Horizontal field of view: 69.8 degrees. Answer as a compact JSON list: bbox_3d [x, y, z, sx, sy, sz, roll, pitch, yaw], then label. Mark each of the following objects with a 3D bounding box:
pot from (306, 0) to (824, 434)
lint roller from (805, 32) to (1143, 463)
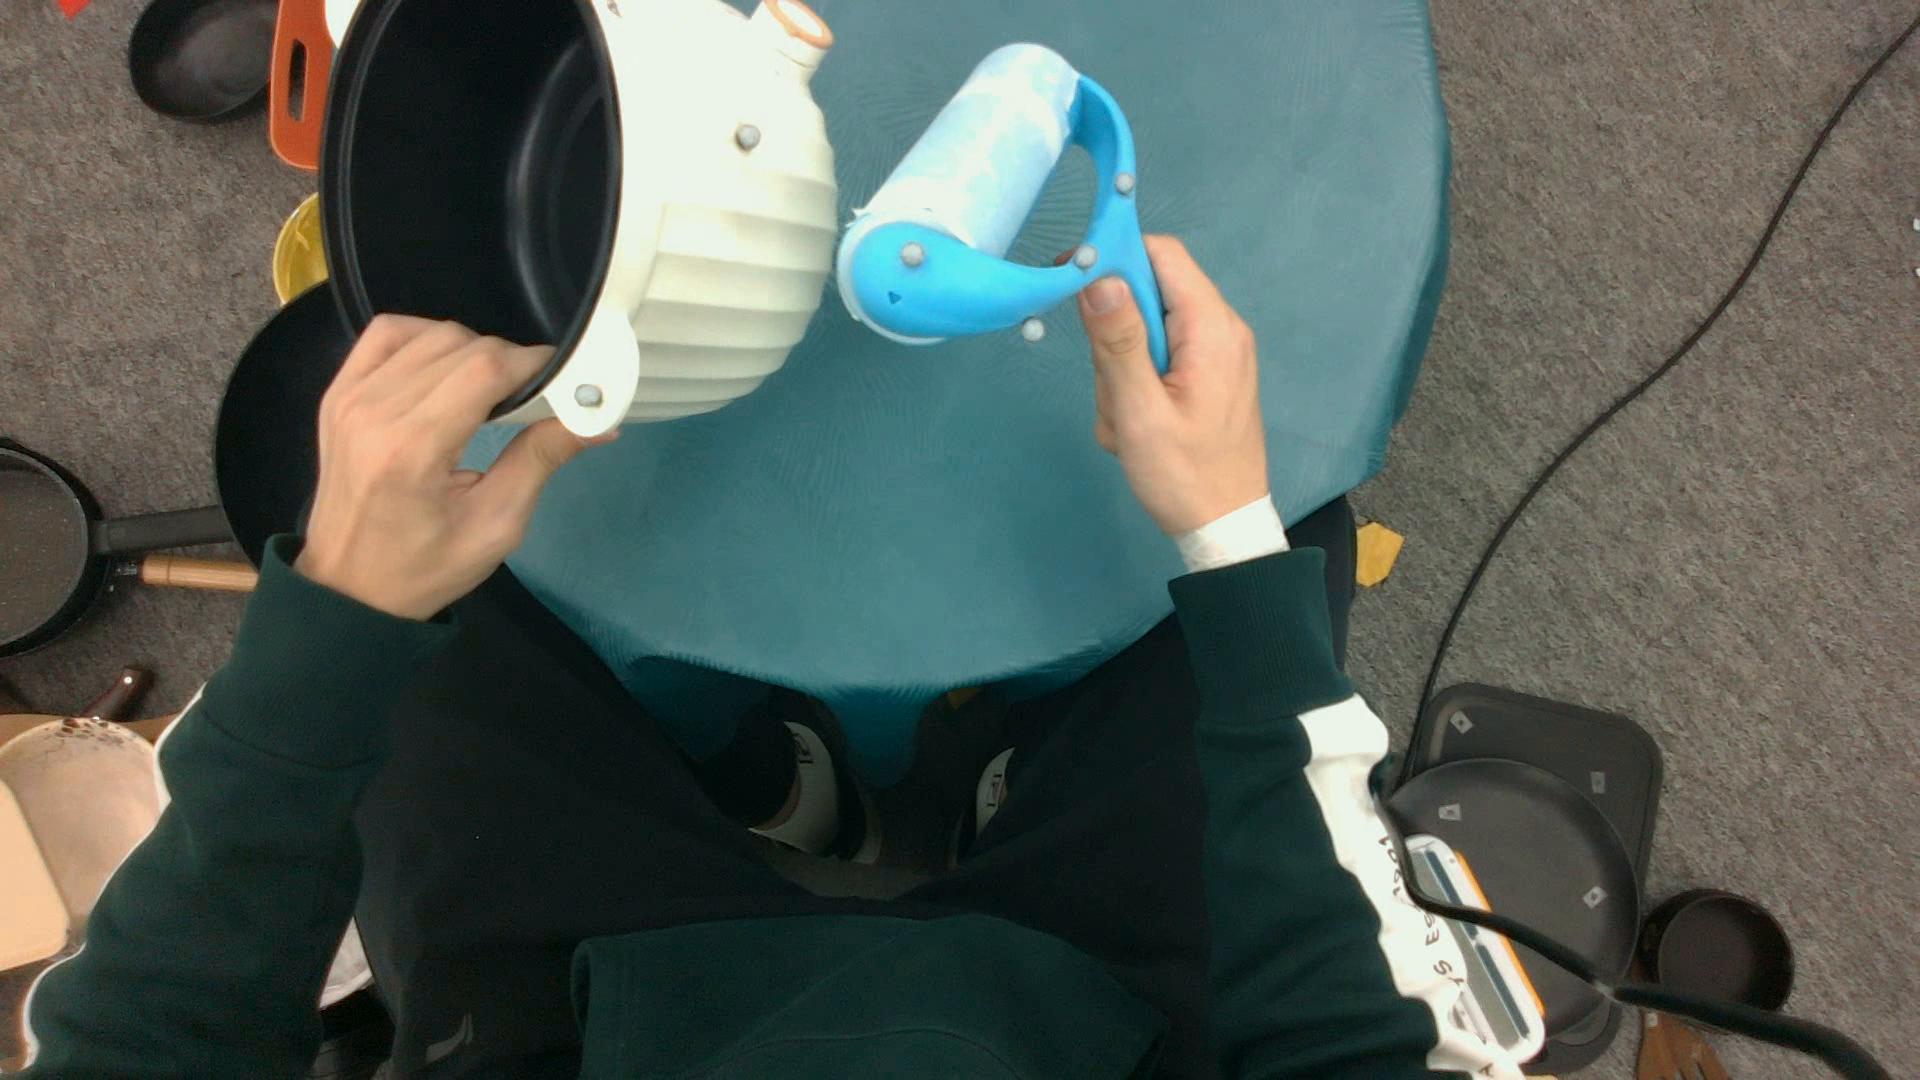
[{"bbox_3d":[-0.148,-0.140,0.551,0.240,0.143,0.189,53,123,19],"label":"pot"},{"bbox_3d":[0.033,-0.111,0.568,0.067,0.230,0.180,-35,113,30],"label":"lint roller"}]
